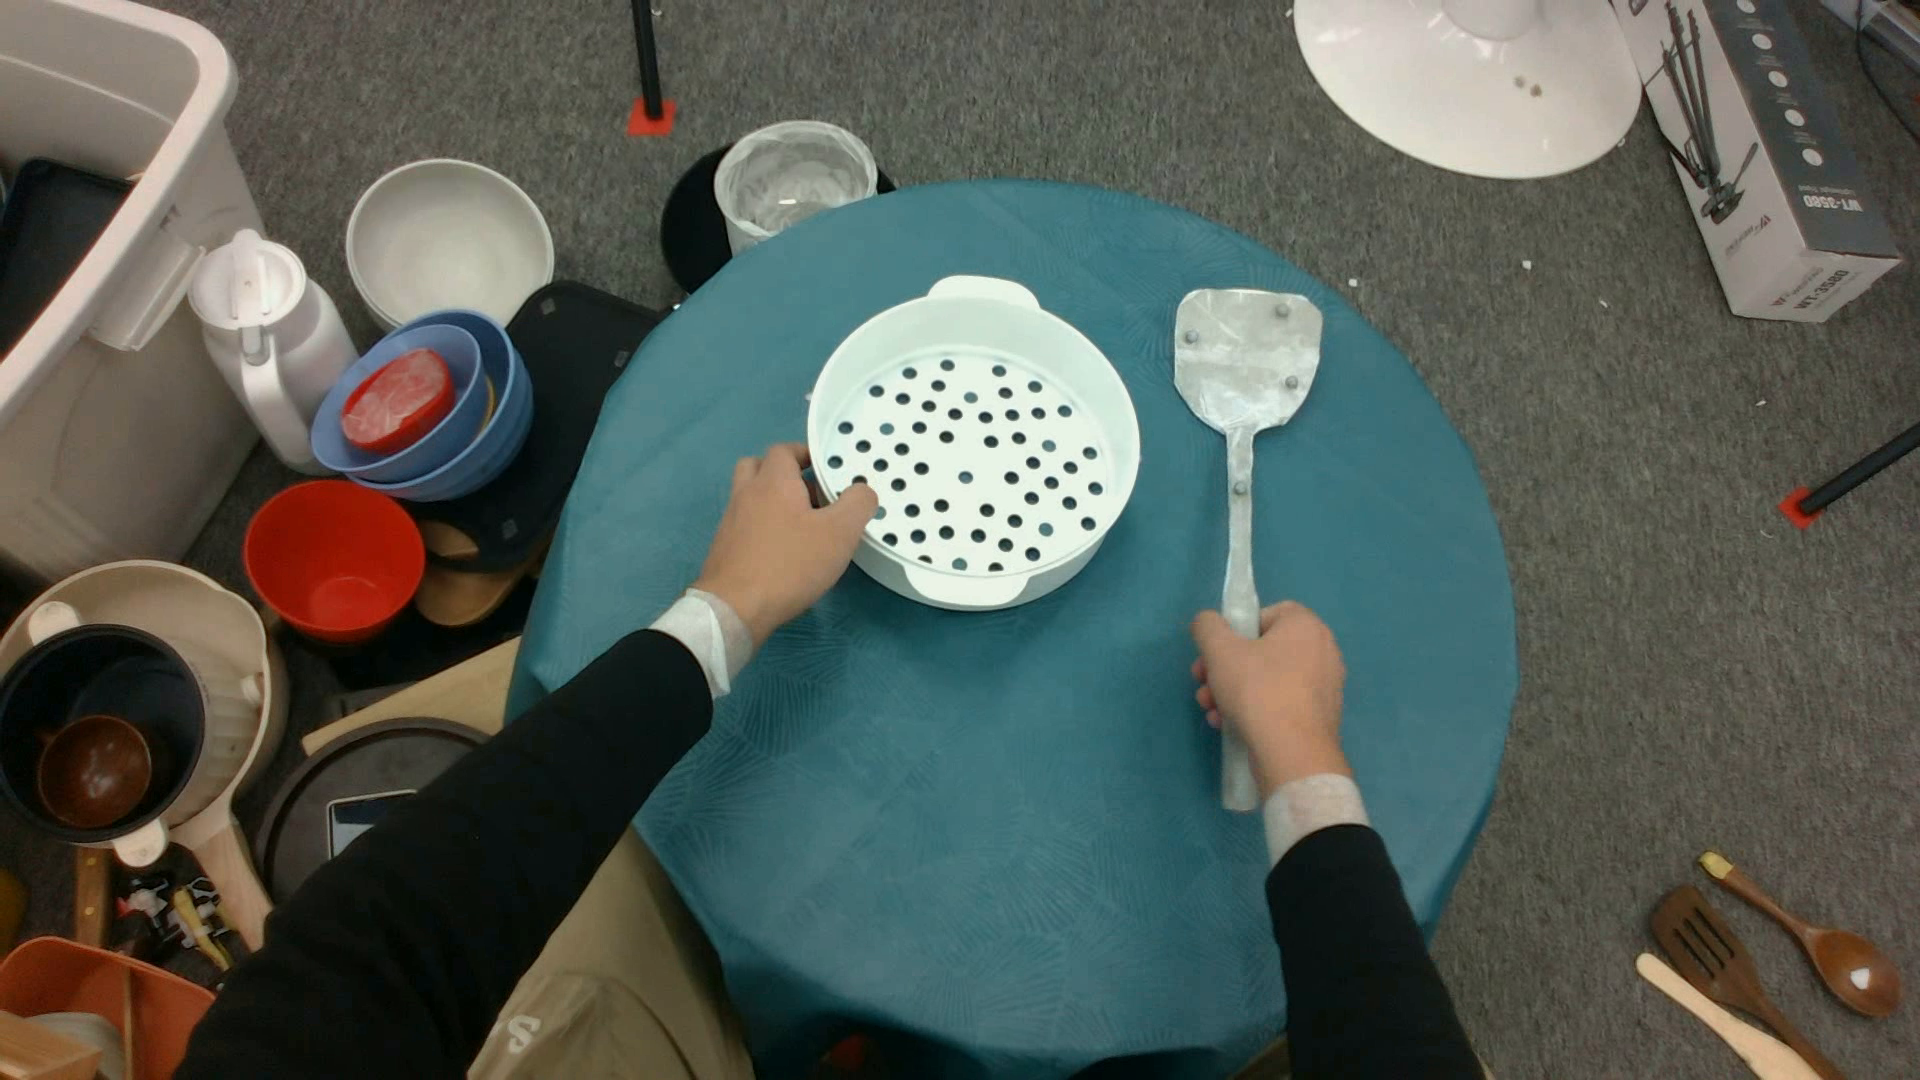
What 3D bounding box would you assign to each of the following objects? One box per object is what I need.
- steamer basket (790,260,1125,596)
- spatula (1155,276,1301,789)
[{"bbox_3d":[-0.003,-0.063,0.851,0.202,0.069,0.231,6,64,-3],"label":"steamer basket"},{"bbox_3d":[0.162,-0.020,0.852,0.098,0.044,0.366,7,54,3],"label":"spatula"}]
